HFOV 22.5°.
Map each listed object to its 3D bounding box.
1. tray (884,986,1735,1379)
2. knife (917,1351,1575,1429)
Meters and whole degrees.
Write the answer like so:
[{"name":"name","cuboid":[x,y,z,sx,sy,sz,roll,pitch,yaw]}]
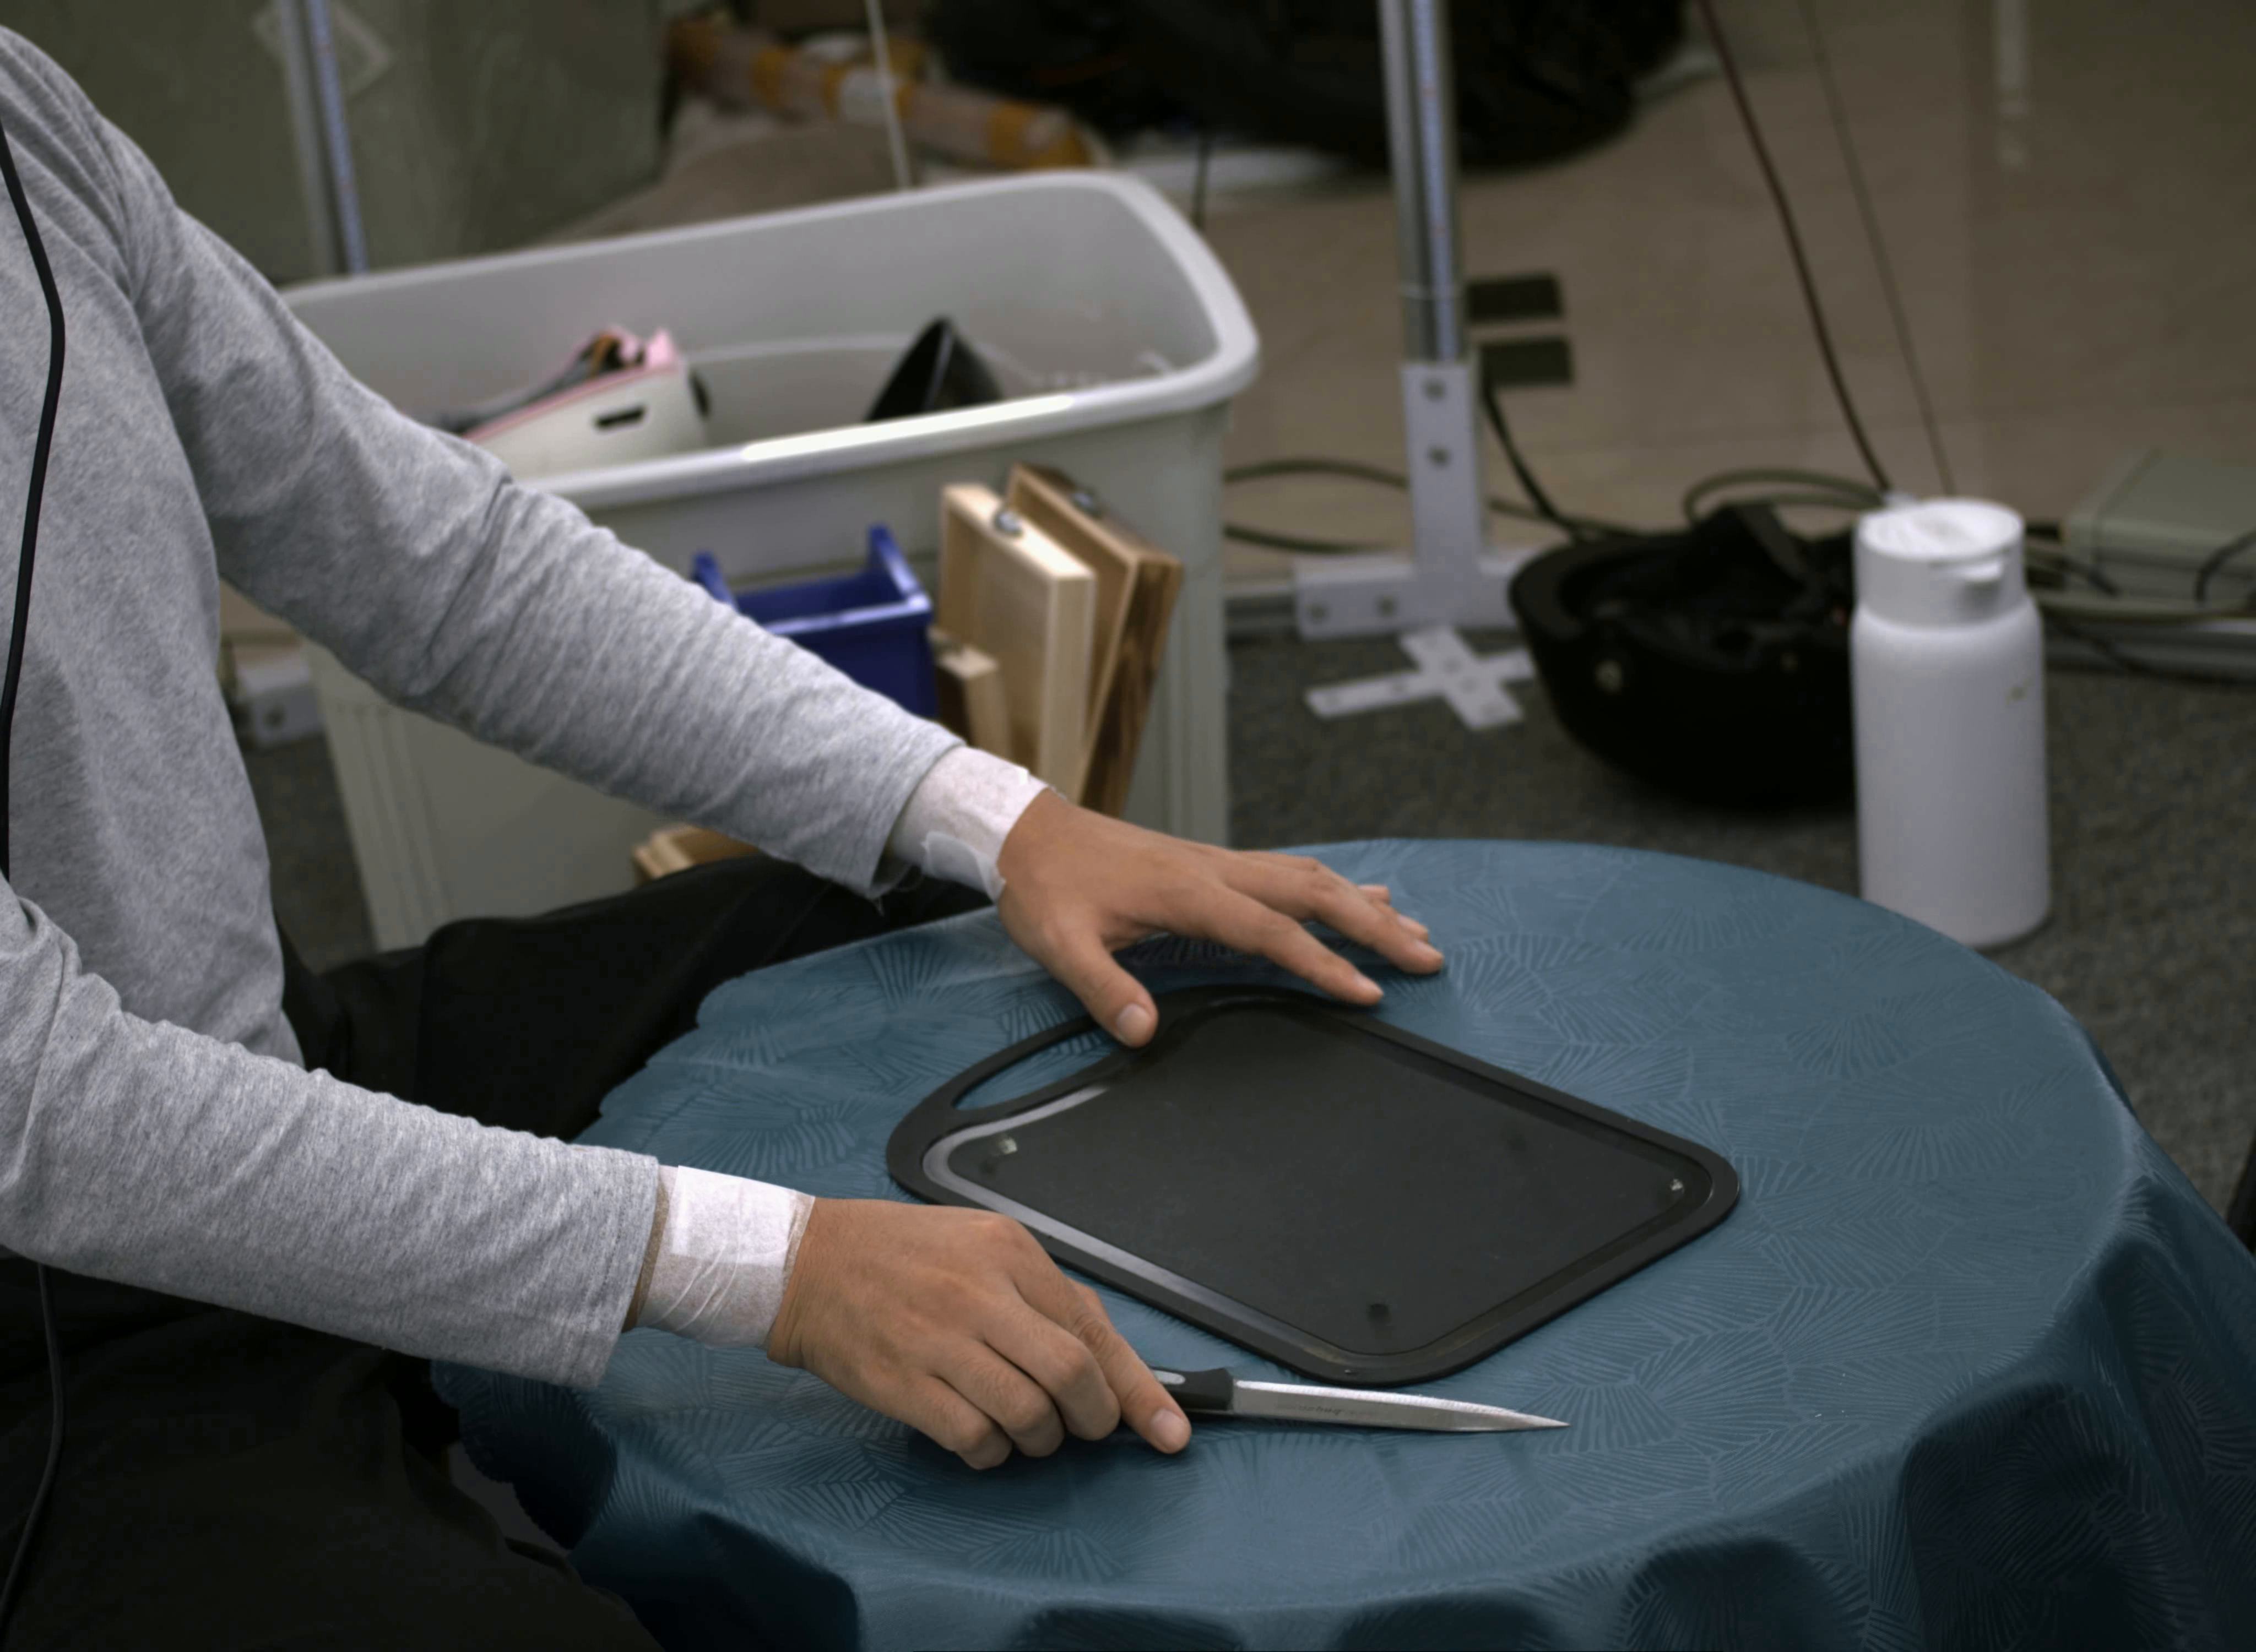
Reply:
[{"name":"tray","cuboid":[0.059,0.128,2.155,0.209,0.010,0.322,-25,30,-35]},{"name":"knife","cuboid":[0.039,0.201,1.994,0.237,0.016,0.024,3,29,13]}]
